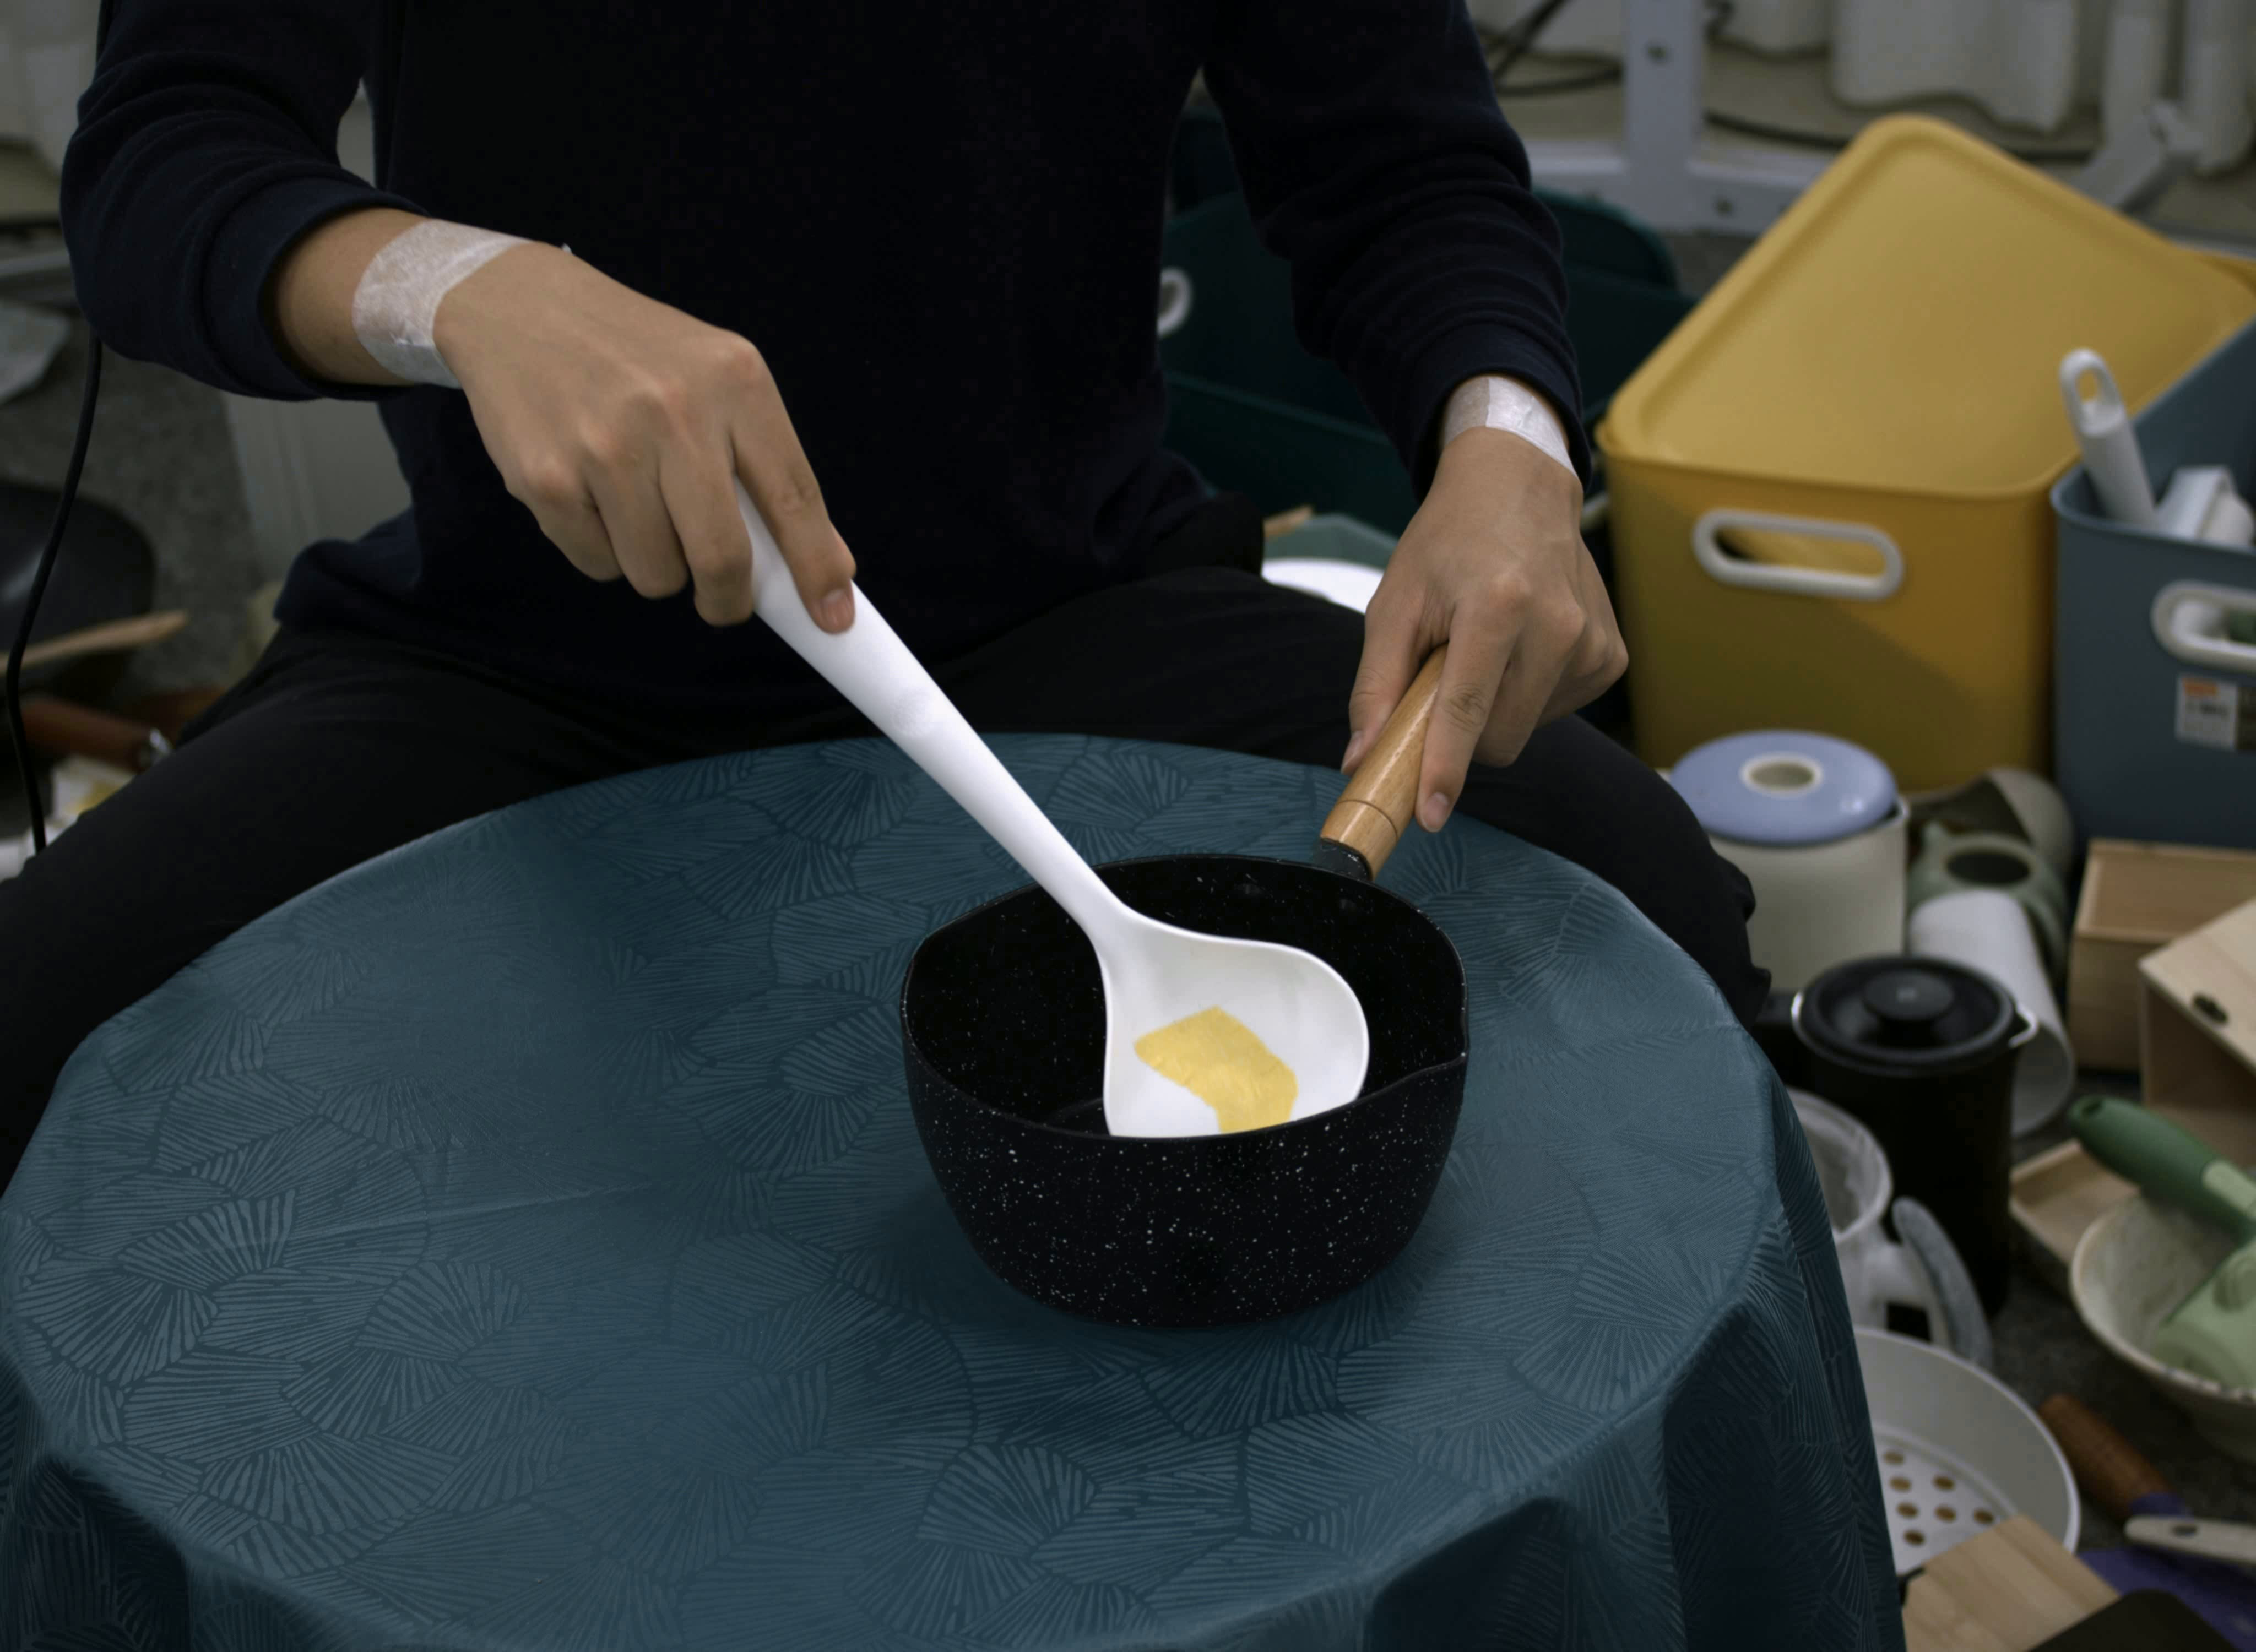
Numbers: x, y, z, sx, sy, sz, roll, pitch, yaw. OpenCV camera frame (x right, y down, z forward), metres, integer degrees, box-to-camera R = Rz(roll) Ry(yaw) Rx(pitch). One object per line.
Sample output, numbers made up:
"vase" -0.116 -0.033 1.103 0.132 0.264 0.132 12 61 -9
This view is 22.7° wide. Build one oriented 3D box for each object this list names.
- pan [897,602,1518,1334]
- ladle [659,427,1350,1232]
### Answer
"pan" 0.053 0.044 1.891 0.206 0.107 0.349 9 31 24
"ladle" -0.043 0.000 1.754 0.090 0.292 0.070 -38 15 5
